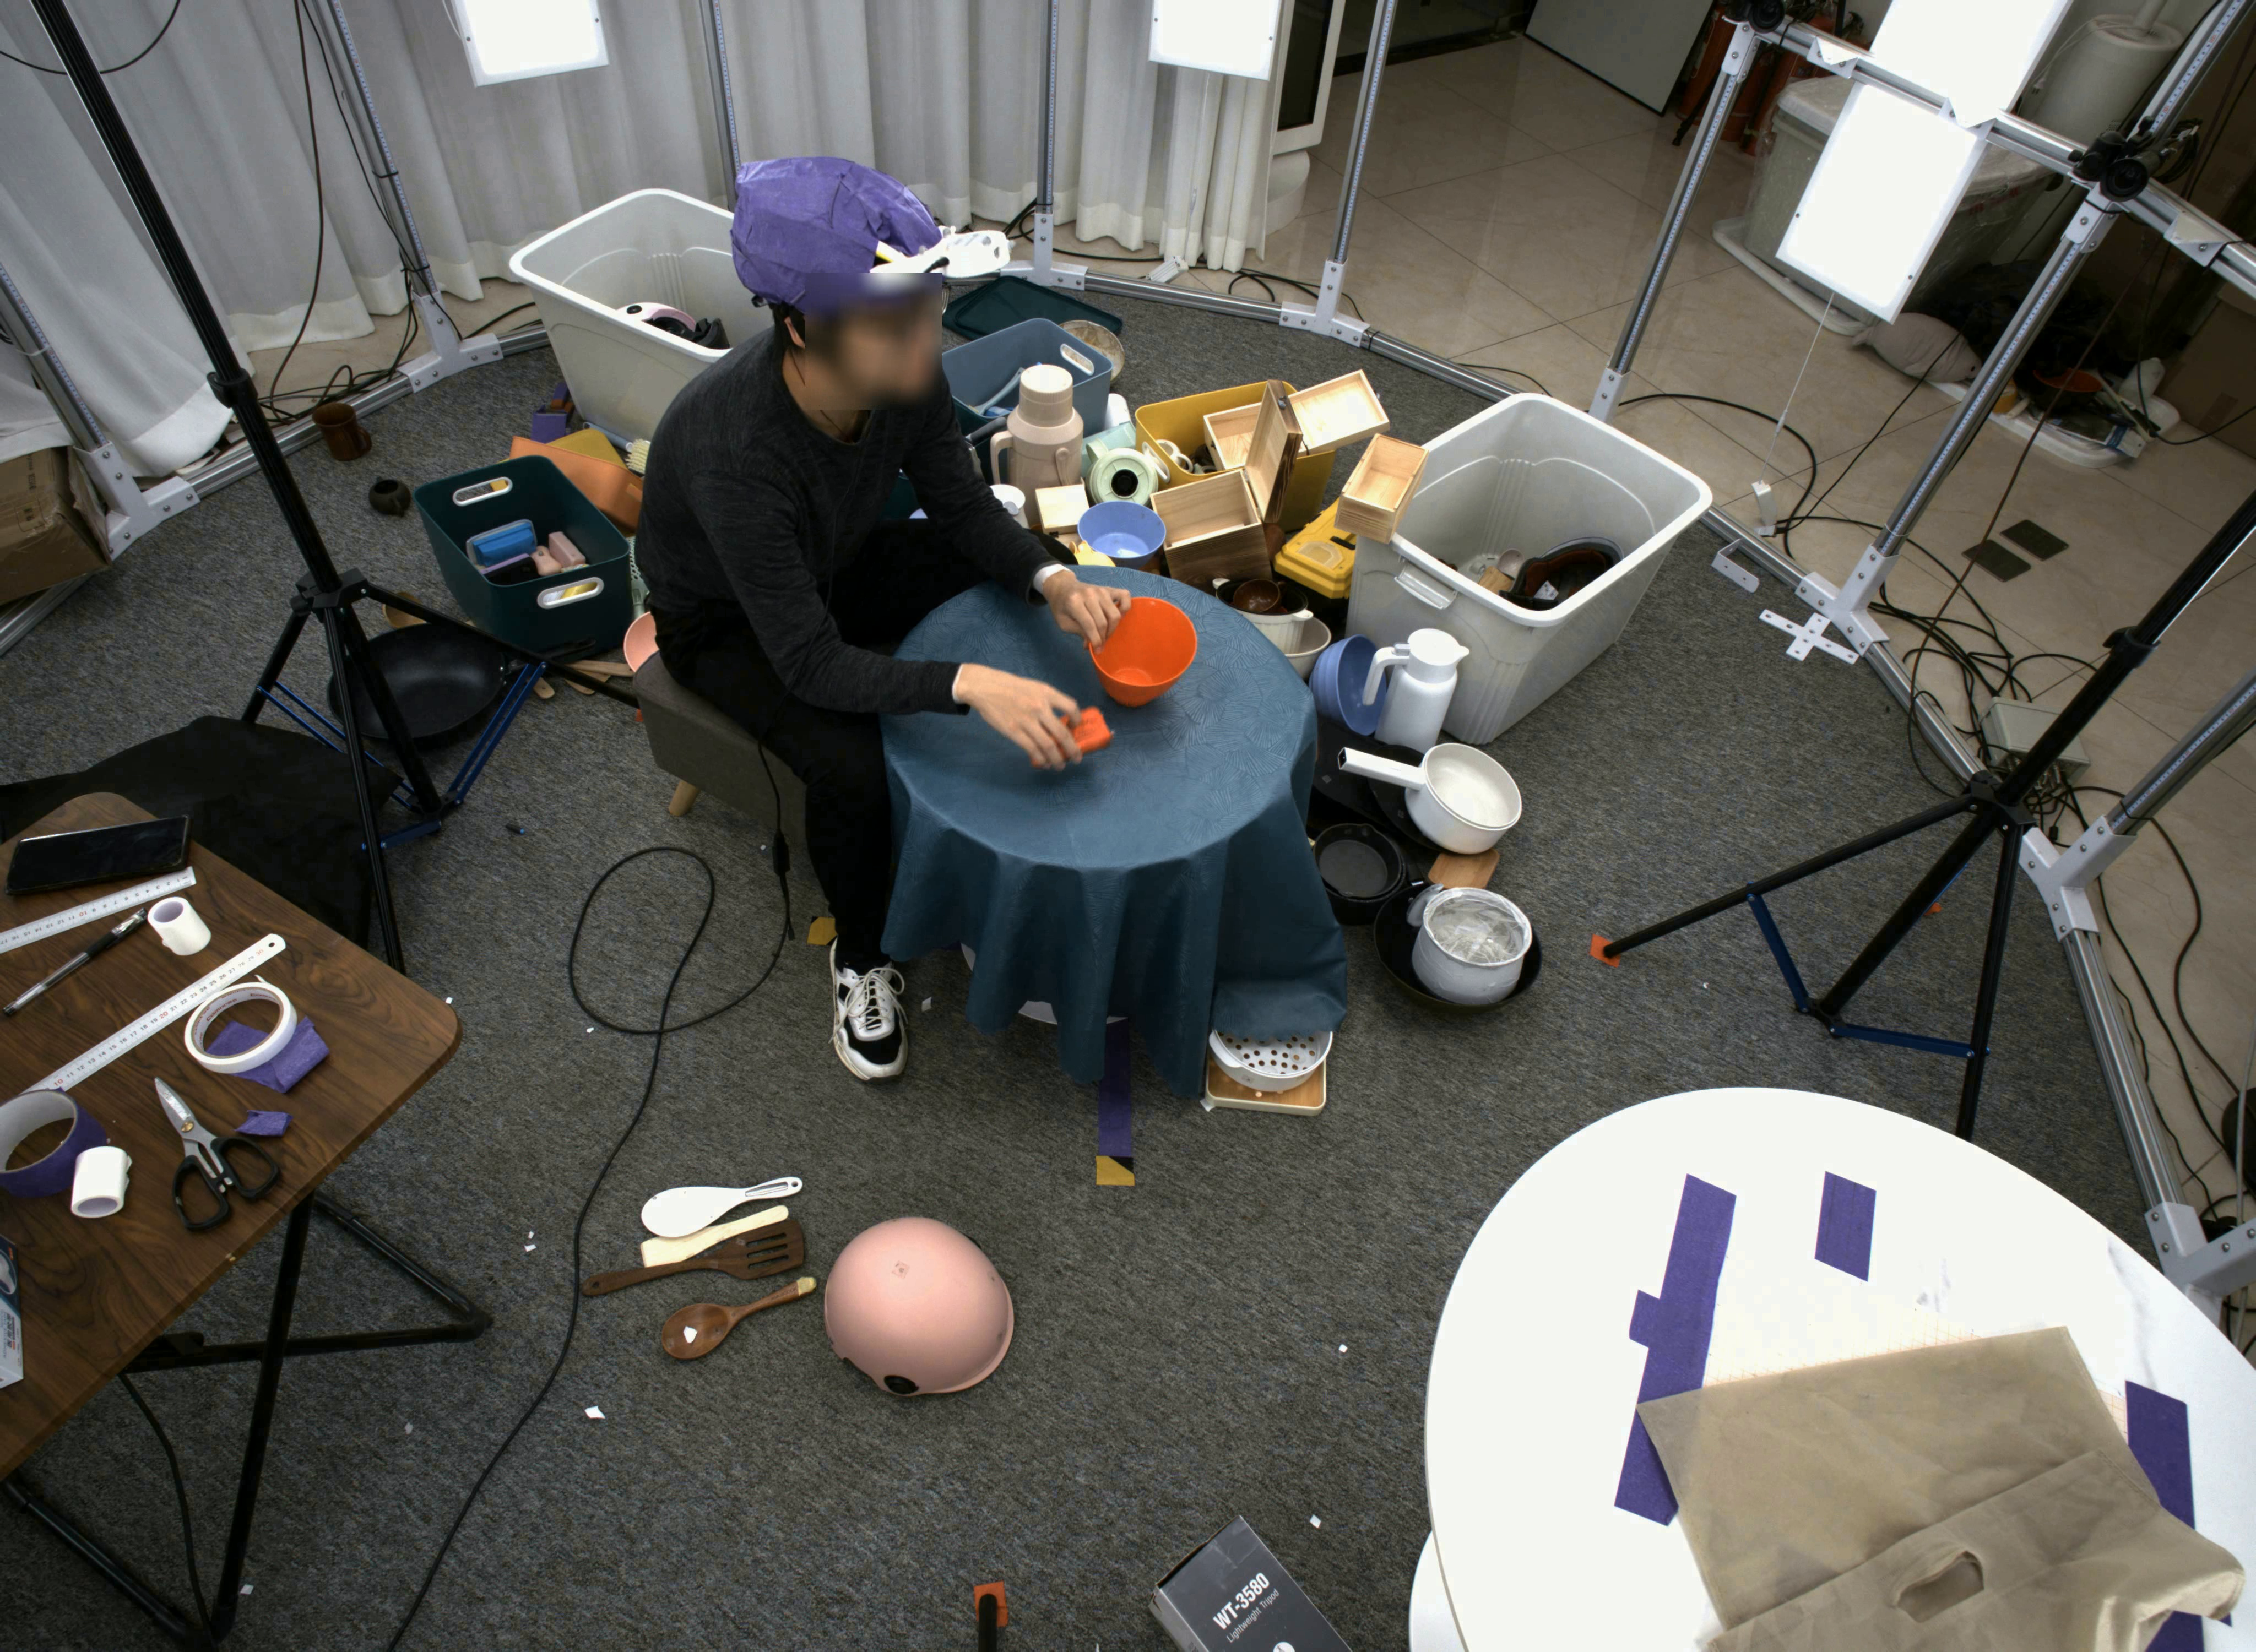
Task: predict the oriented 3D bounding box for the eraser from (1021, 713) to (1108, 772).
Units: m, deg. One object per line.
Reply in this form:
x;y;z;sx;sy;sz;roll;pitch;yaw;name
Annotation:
-0.084;-0.111;1.694;0.108;0.022;0.060;-17;56;-14;eraser

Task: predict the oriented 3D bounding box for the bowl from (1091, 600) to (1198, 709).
0.018;-0.229;1.800;0.148;0.102;0.151;4;53;-5;bowl
